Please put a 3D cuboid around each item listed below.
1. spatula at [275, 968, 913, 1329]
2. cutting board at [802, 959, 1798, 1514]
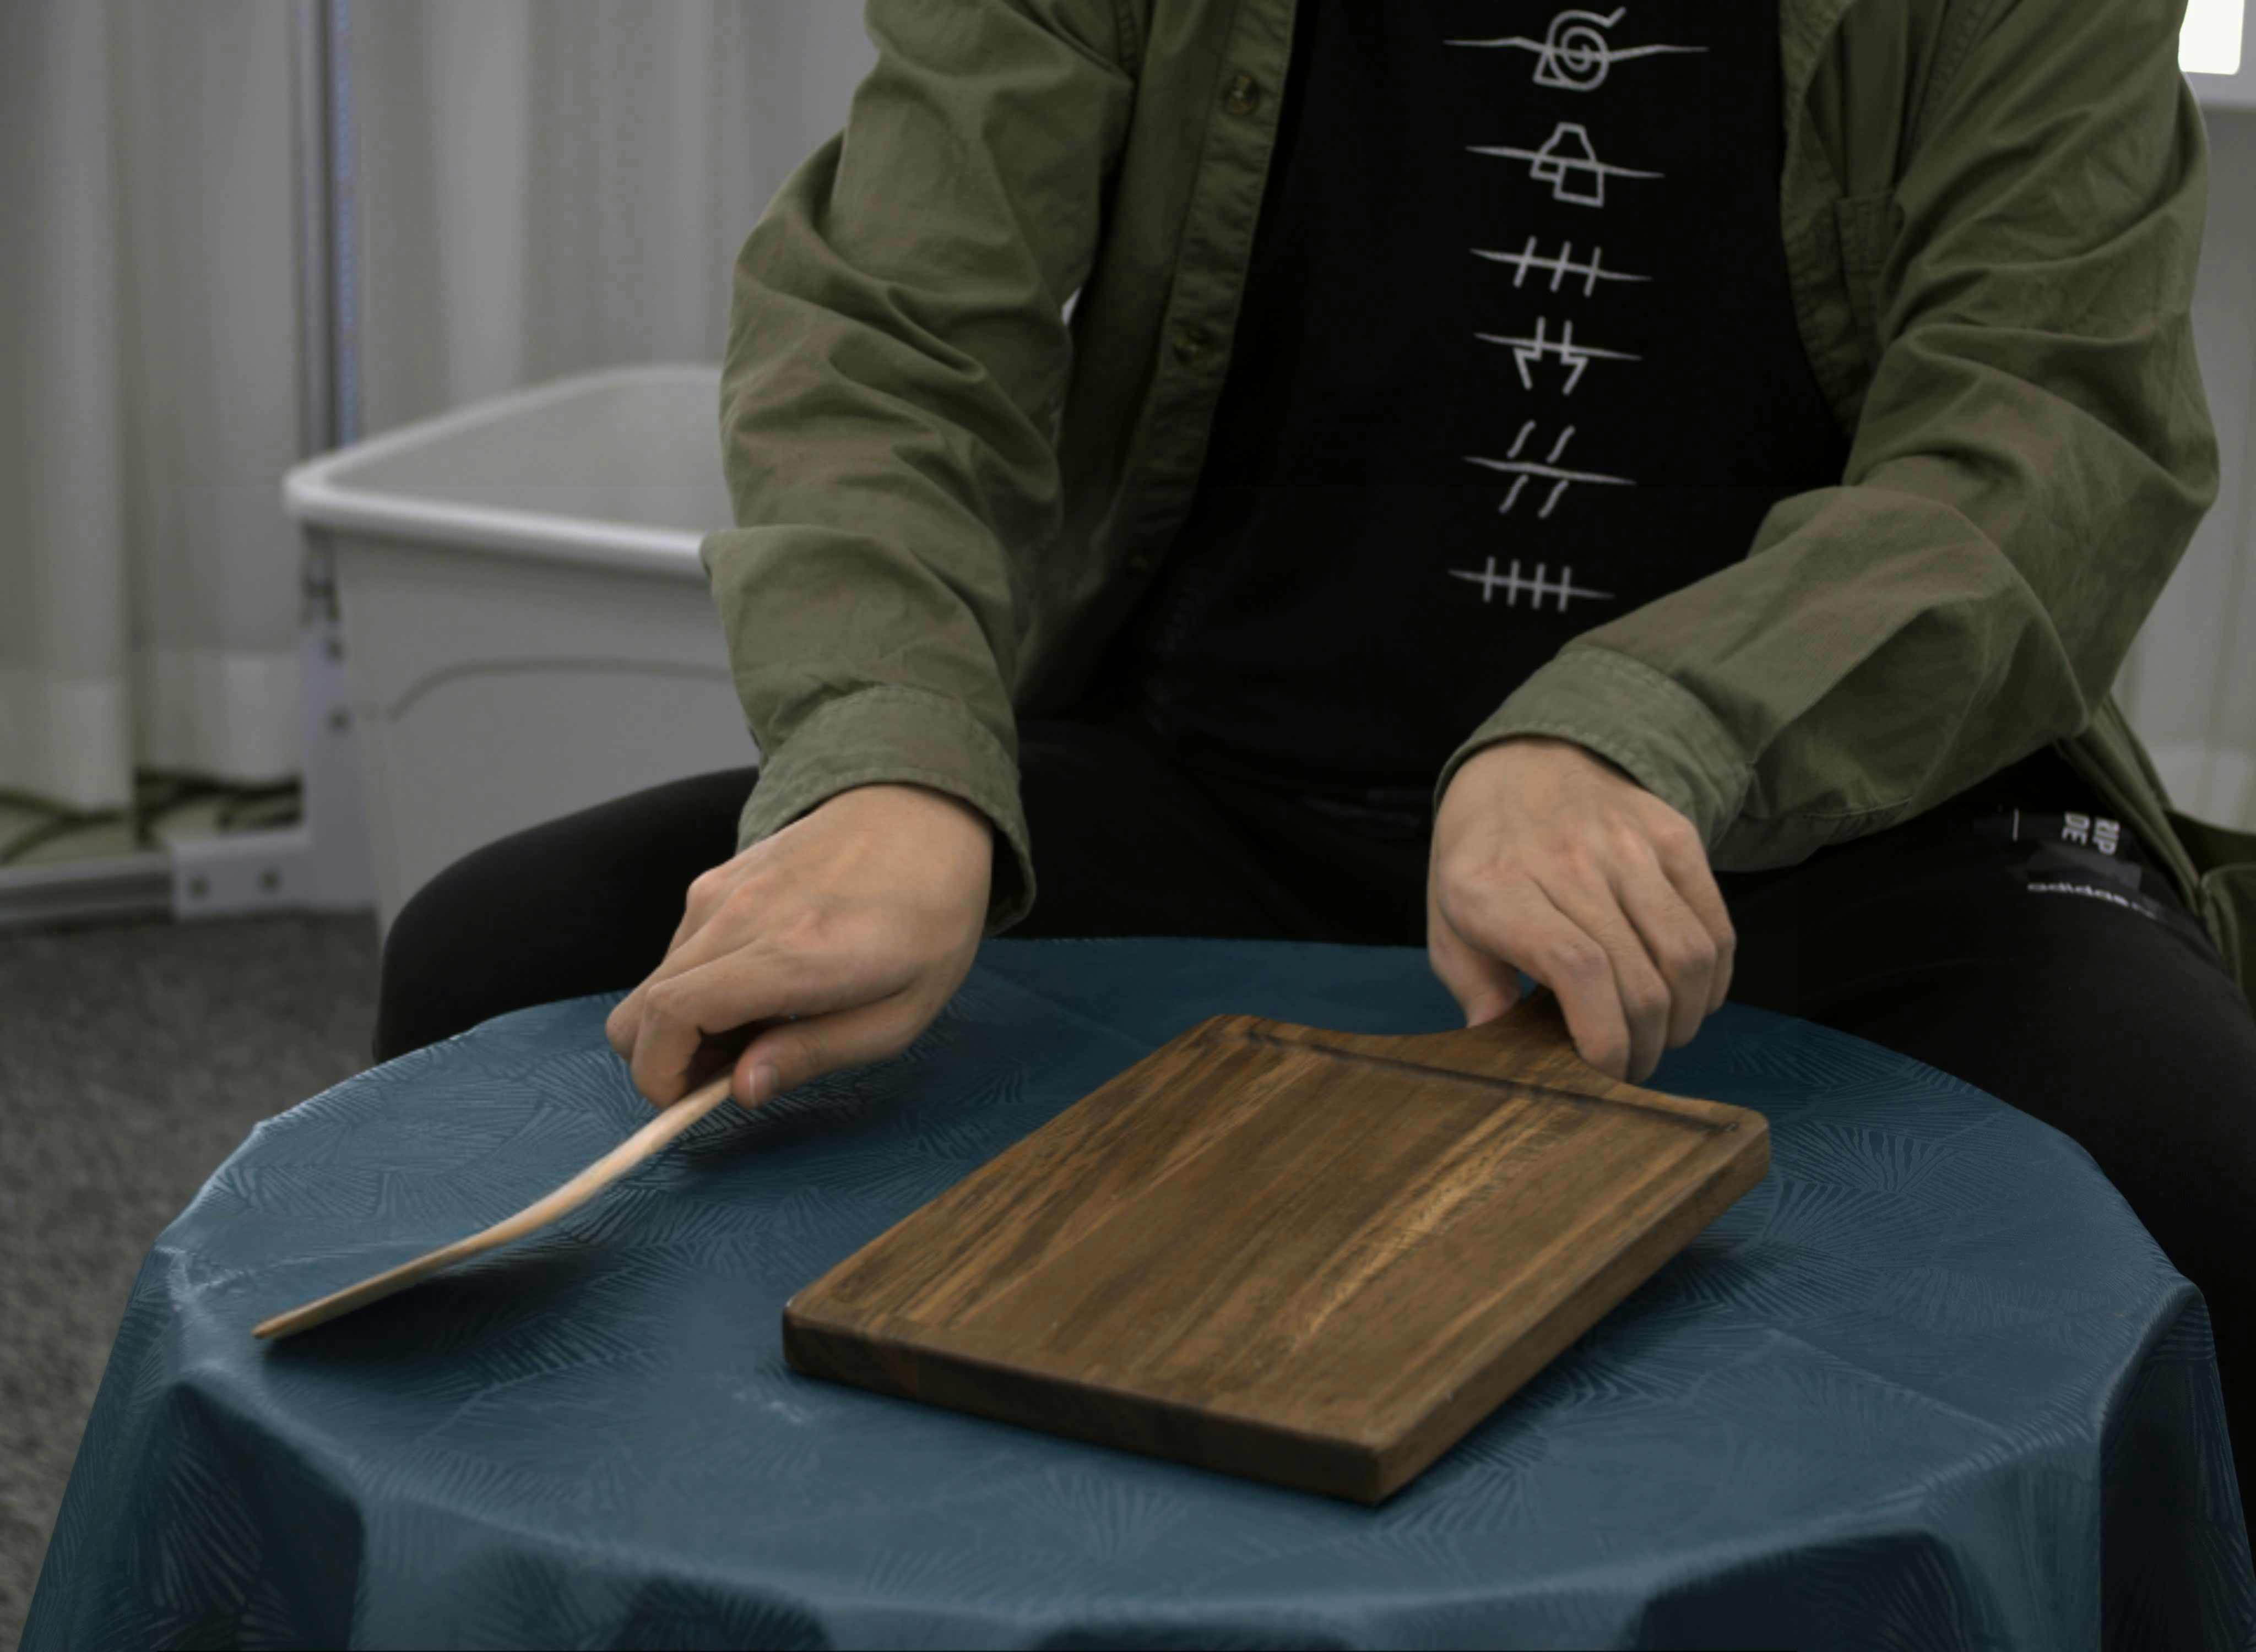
[{"bbox_3d":[-0.144,0.091,1.609,0.079,0.016,0.328,-22,6,28],"label":"spatula"},{"bbox_3d":[0.081,0.106,1.559,0.198,0.023,0.353,10,23,31],"label":"cutting board"}]
